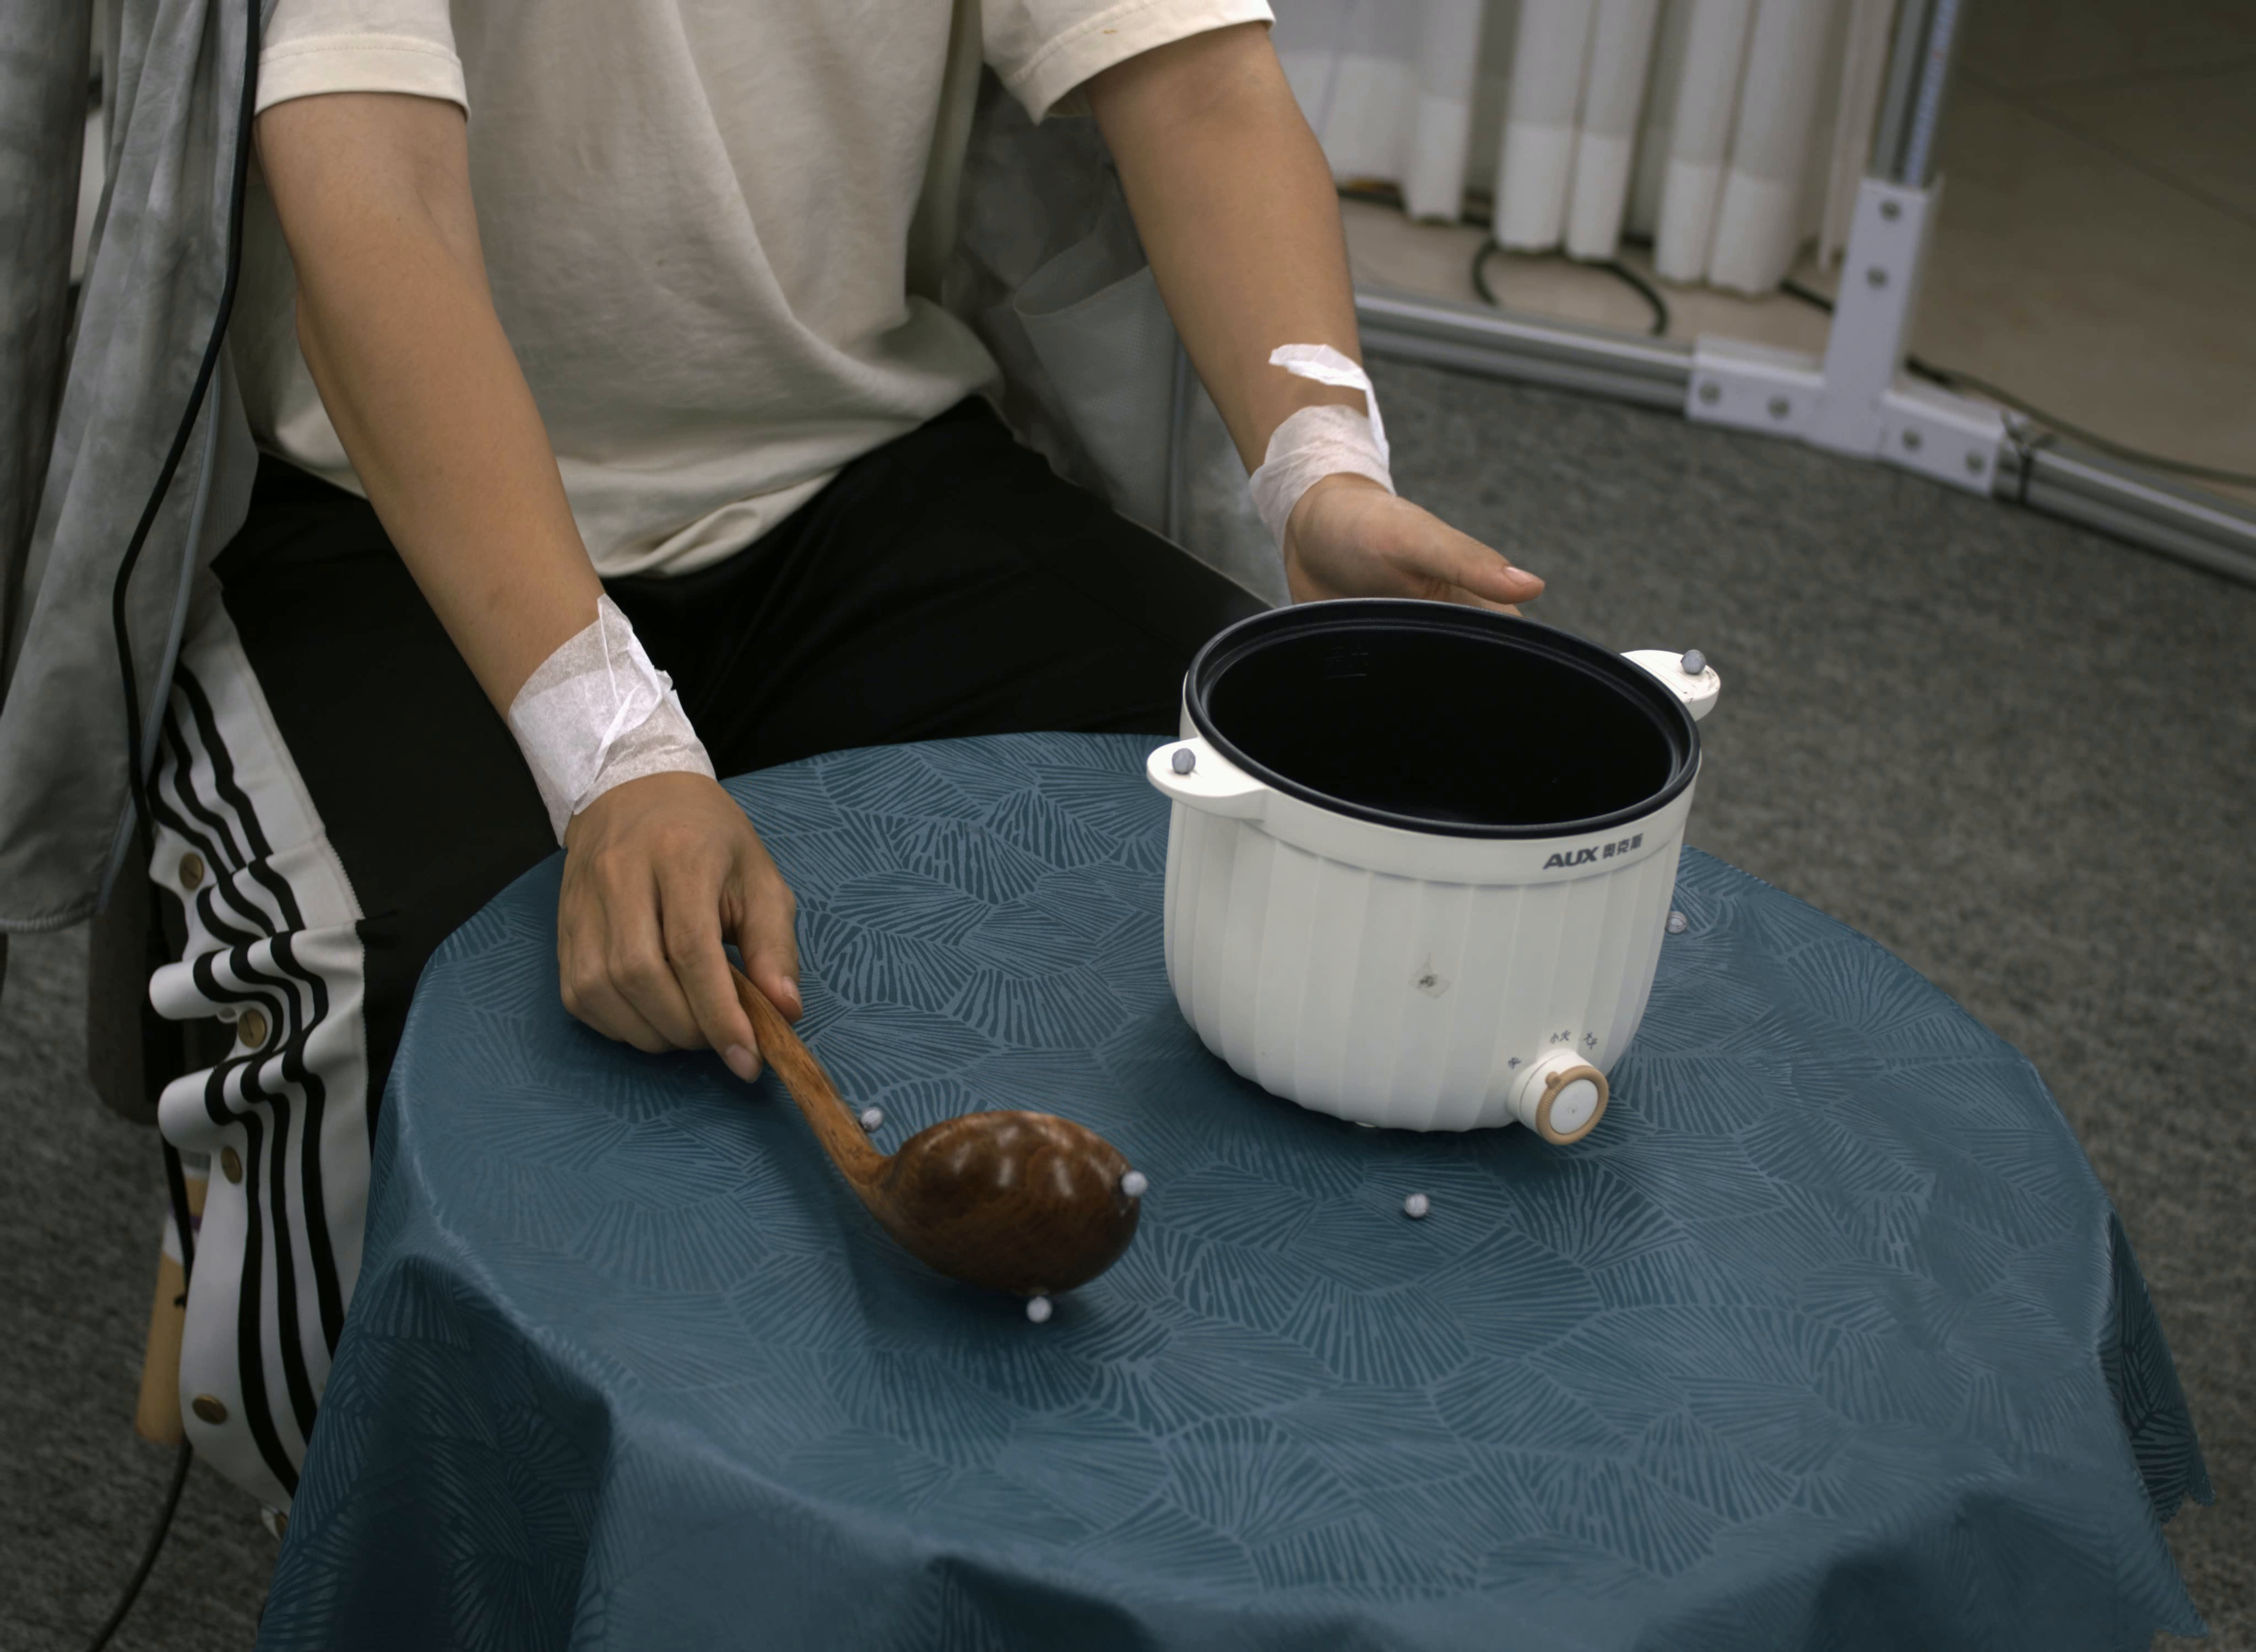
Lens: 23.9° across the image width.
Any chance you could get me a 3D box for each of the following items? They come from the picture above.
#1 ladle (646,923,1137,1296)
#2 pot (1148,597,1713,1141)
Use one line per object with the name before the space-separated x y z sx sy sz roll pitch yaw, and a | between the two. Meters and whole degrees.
ladle | -0.084 0.077 1.799 0.076 0.081 0.276 -39 36 -5
pot | 0.107 0.020 1.880 0.239 0.142 0.192 -13 29 -32
